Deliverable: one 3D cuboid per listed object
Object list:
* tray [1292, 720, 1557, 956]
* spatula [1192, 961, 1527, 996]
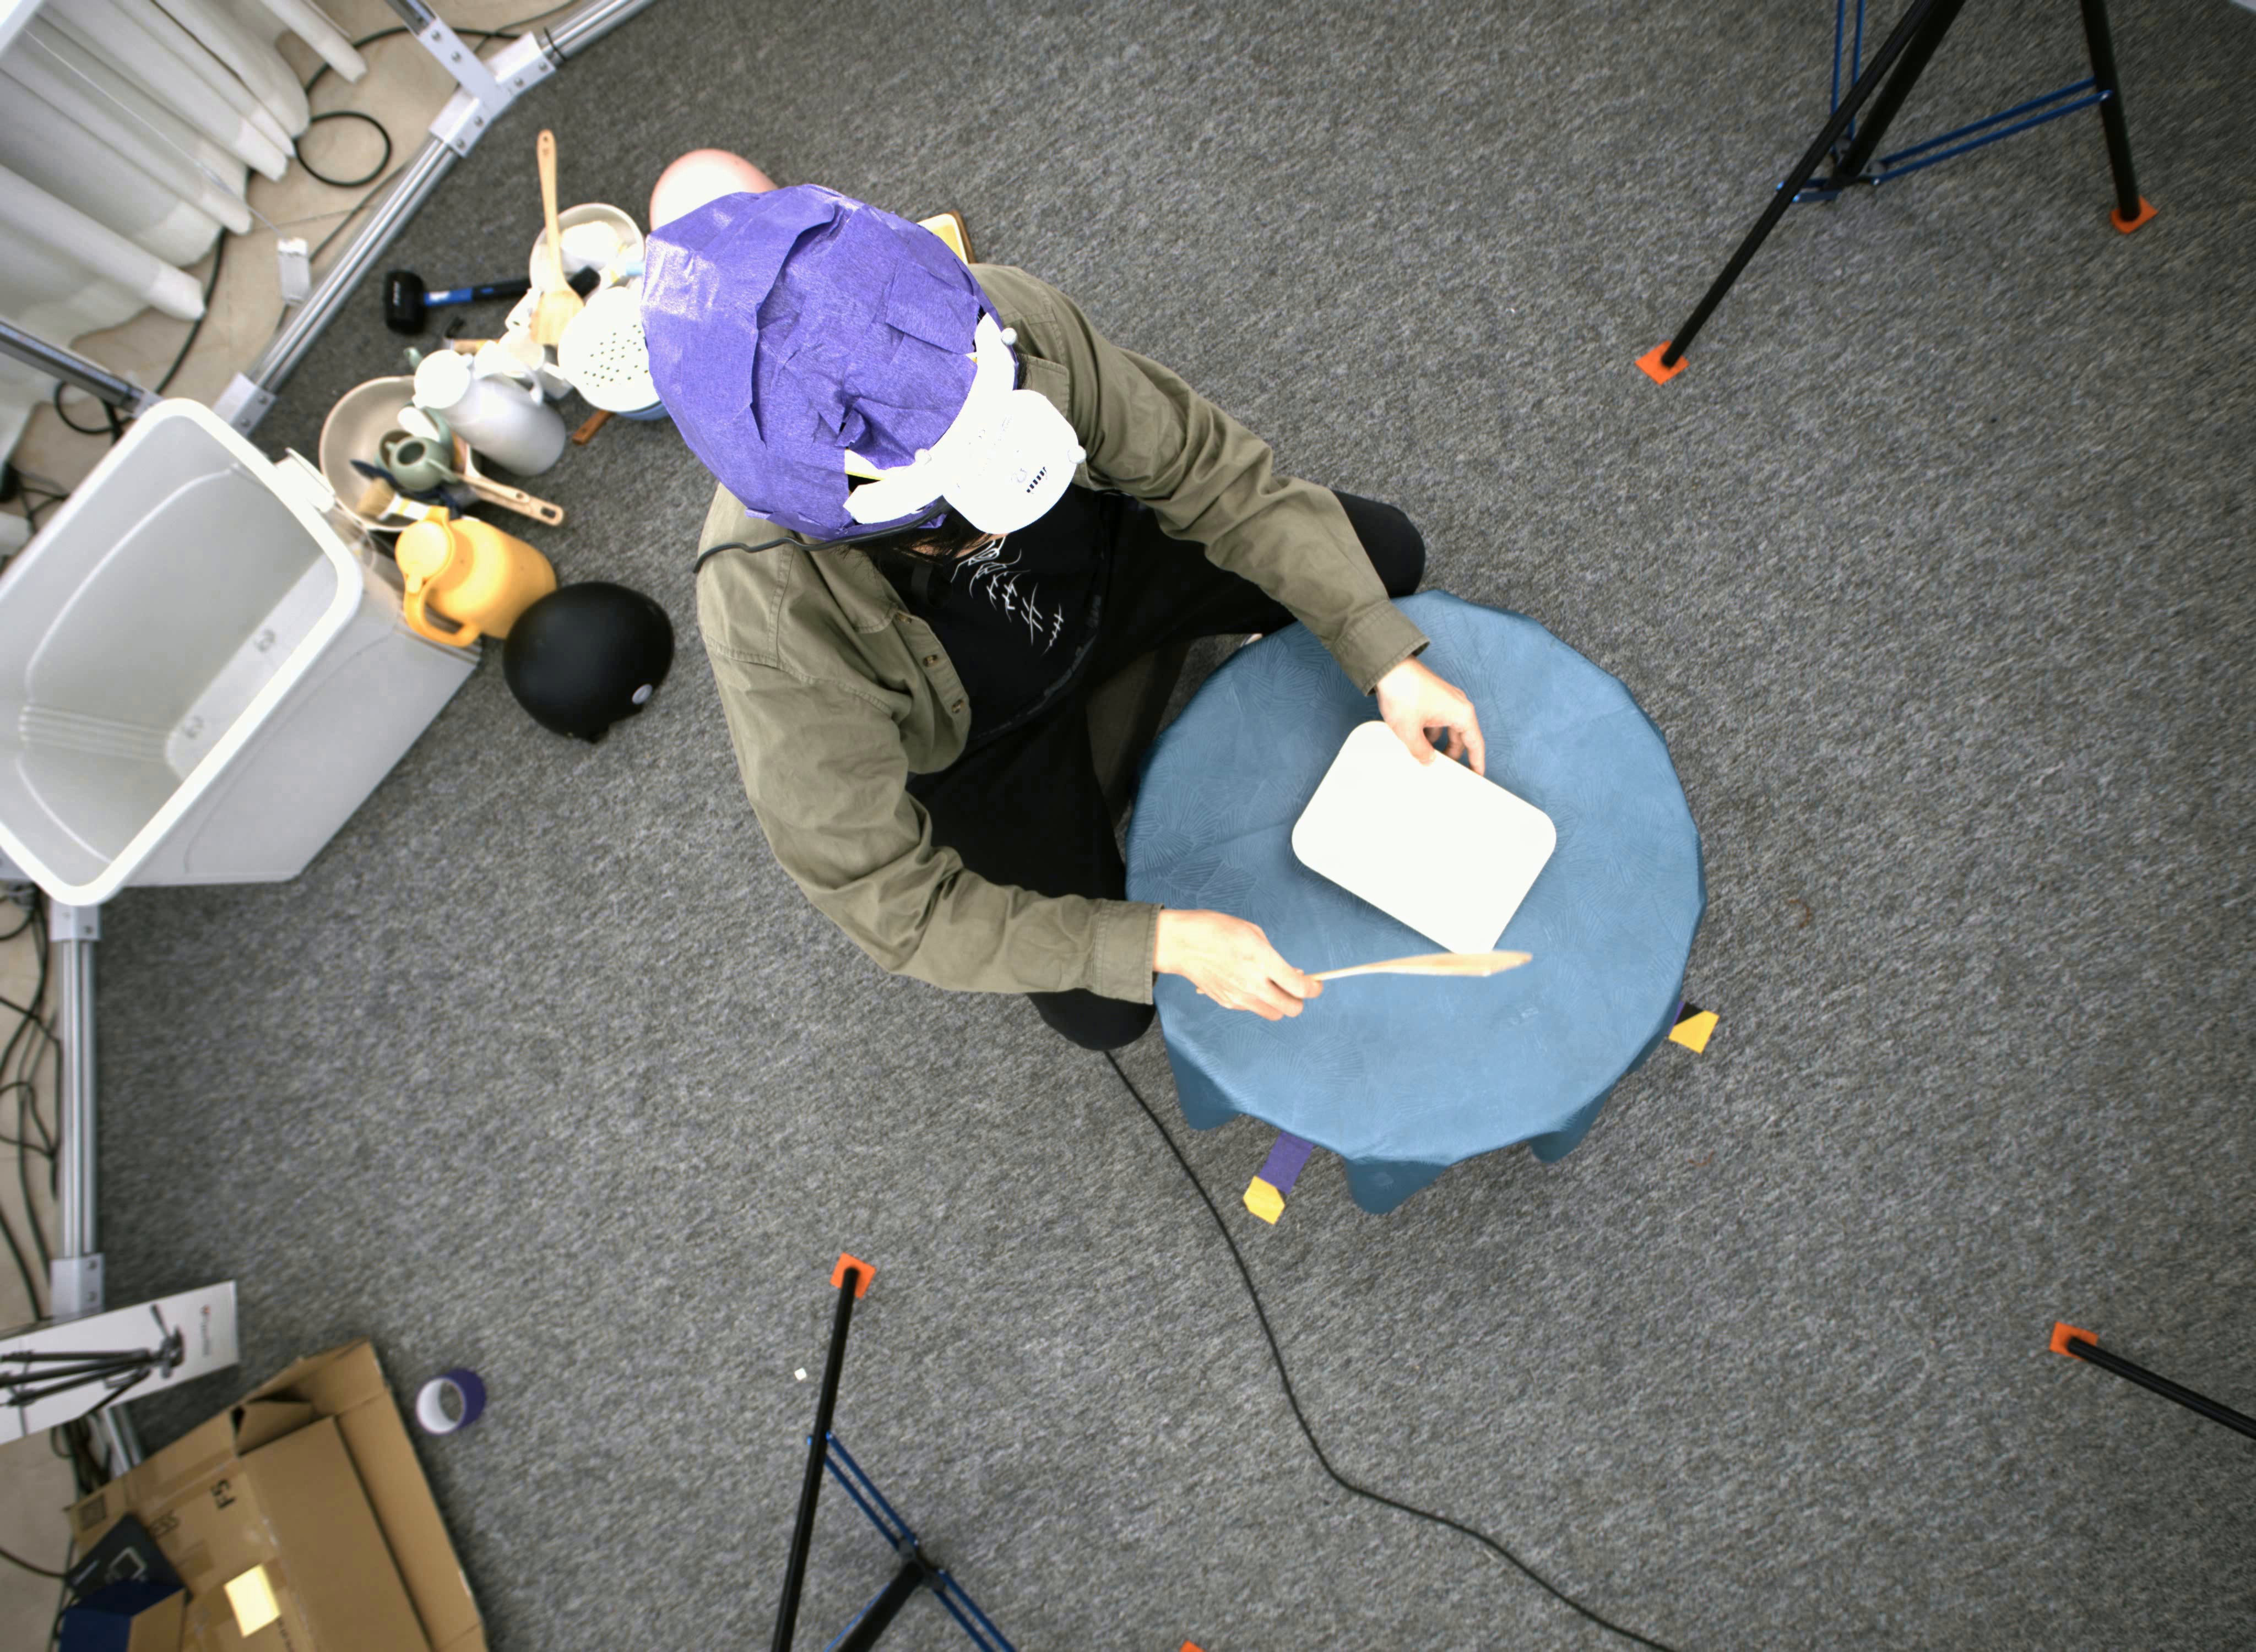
[{"bbox_3d":[0.302,0.011,1.411,0.240,0.017,0.173,30,101,1],"label":"tray"},{"bbox_3d":[0.192,0.141,1.251,0.331,0.079,0.016,-11,92,39],"label":"spatula"}]
